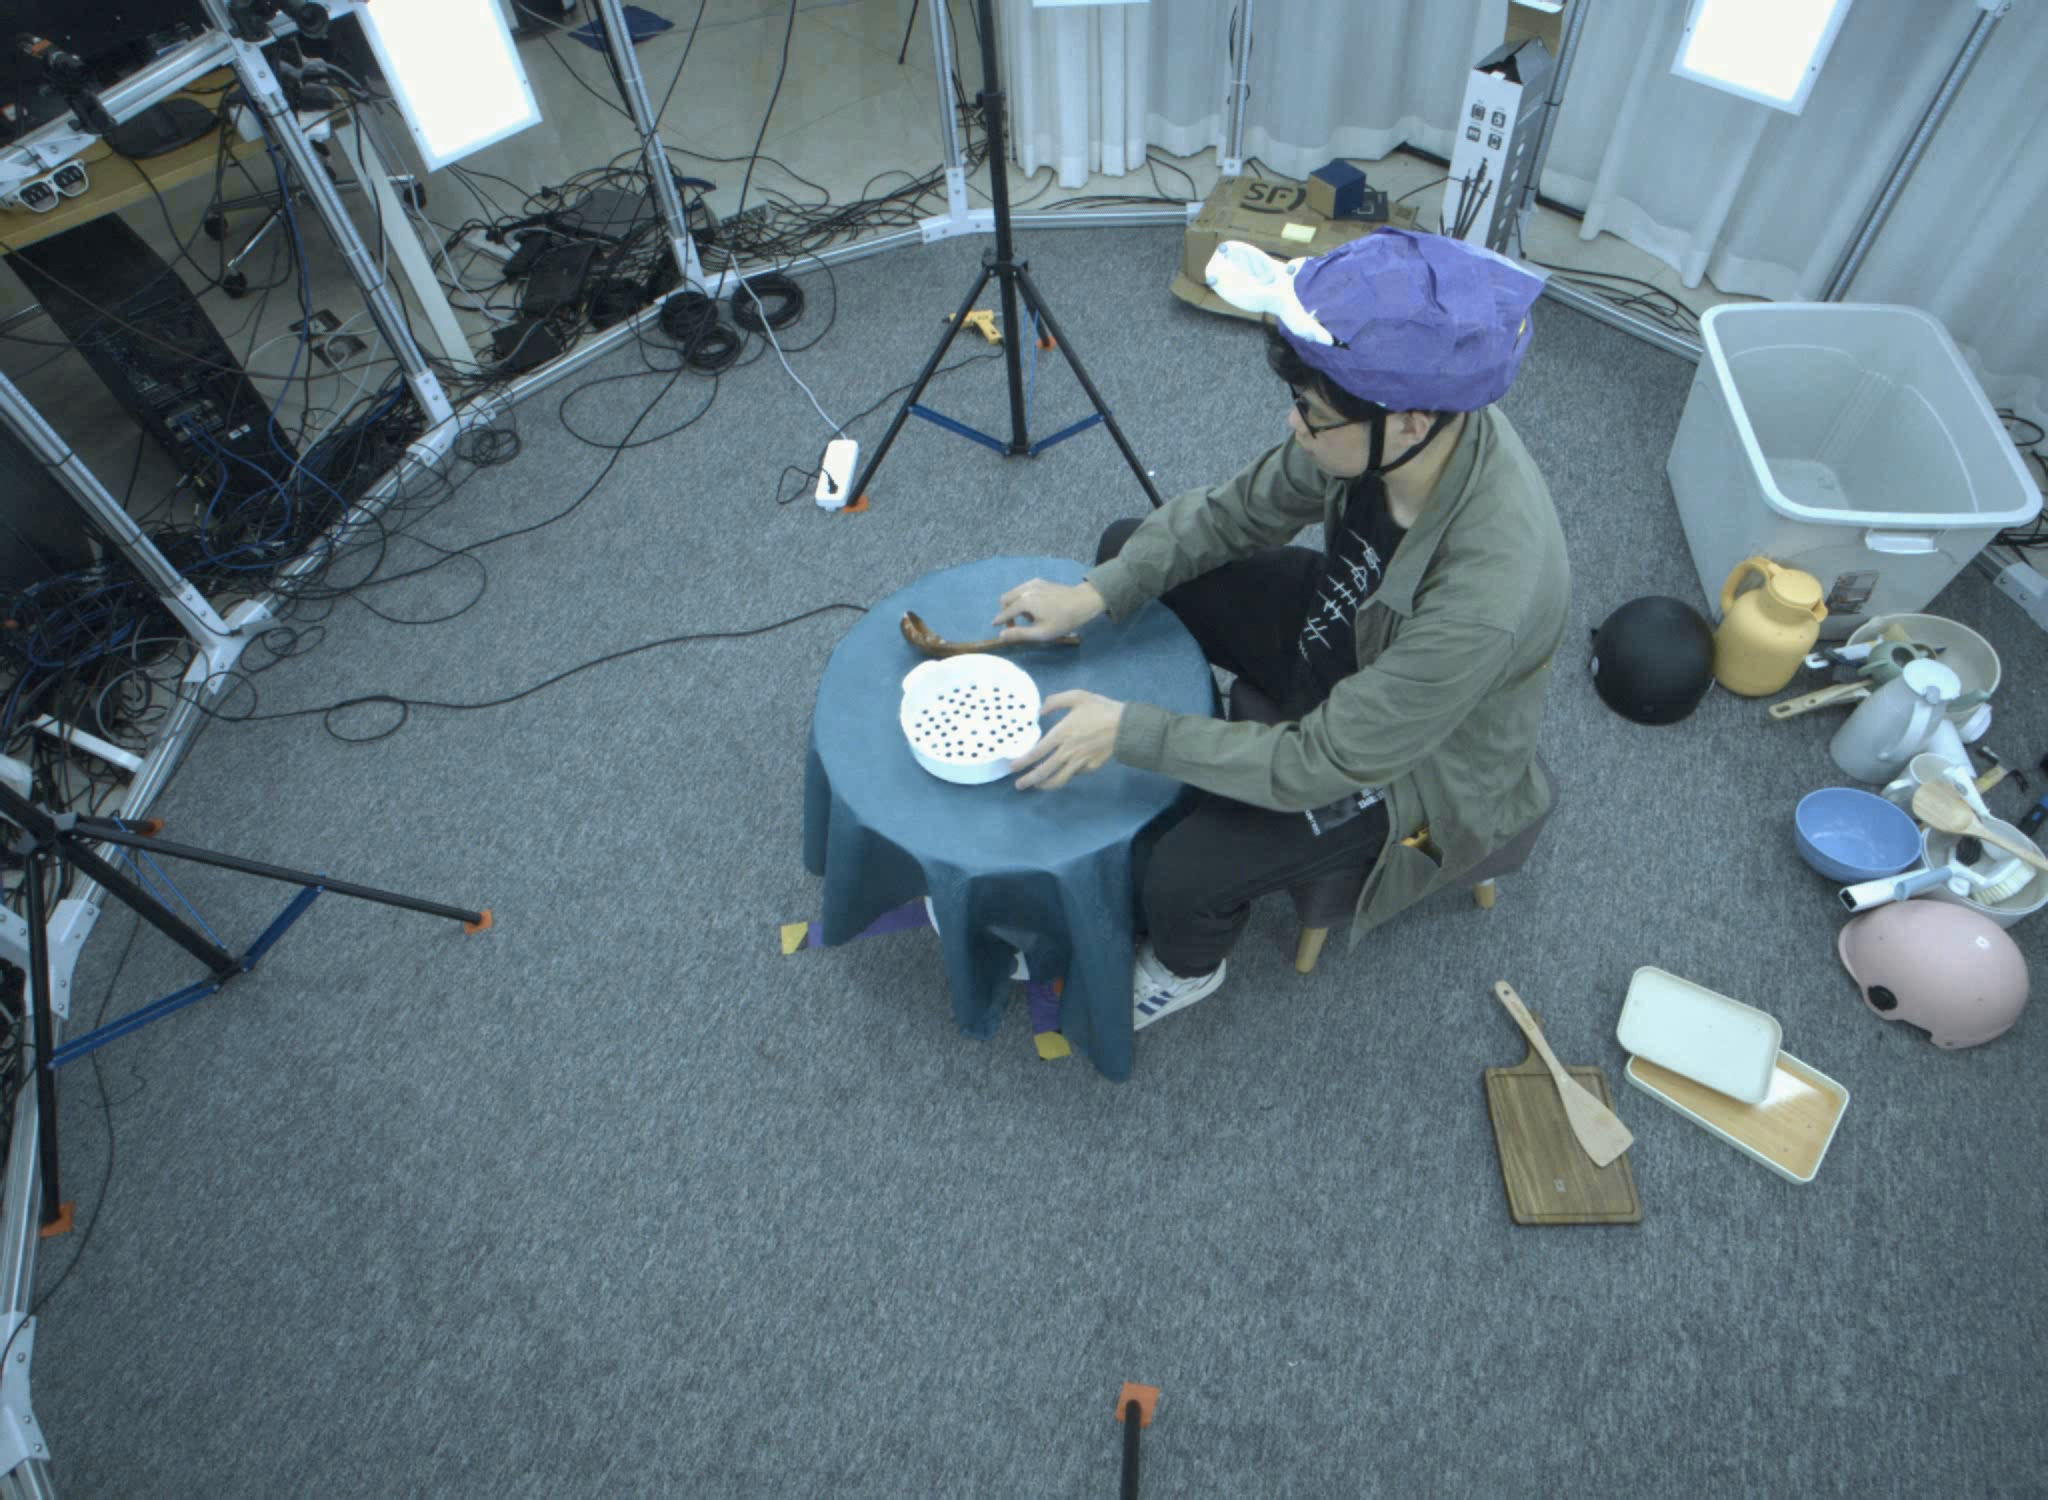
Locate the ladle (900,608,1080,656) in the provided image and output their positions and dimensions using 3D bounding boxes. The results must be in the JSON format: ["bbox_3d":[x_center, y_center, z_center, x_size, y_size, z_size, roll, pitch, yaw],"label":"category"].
[{"bbox_3d":[-0.053,-0.189,1.885,0.274,0.077,0.081,-5,28,-1],"label":"ladle"}]

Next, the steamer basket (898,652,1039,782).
[{"bbox_3d":[-0.079,-0.046,1.786,0.227,0.070,0.203,34,63,22],"label":"steamer basket"}]
